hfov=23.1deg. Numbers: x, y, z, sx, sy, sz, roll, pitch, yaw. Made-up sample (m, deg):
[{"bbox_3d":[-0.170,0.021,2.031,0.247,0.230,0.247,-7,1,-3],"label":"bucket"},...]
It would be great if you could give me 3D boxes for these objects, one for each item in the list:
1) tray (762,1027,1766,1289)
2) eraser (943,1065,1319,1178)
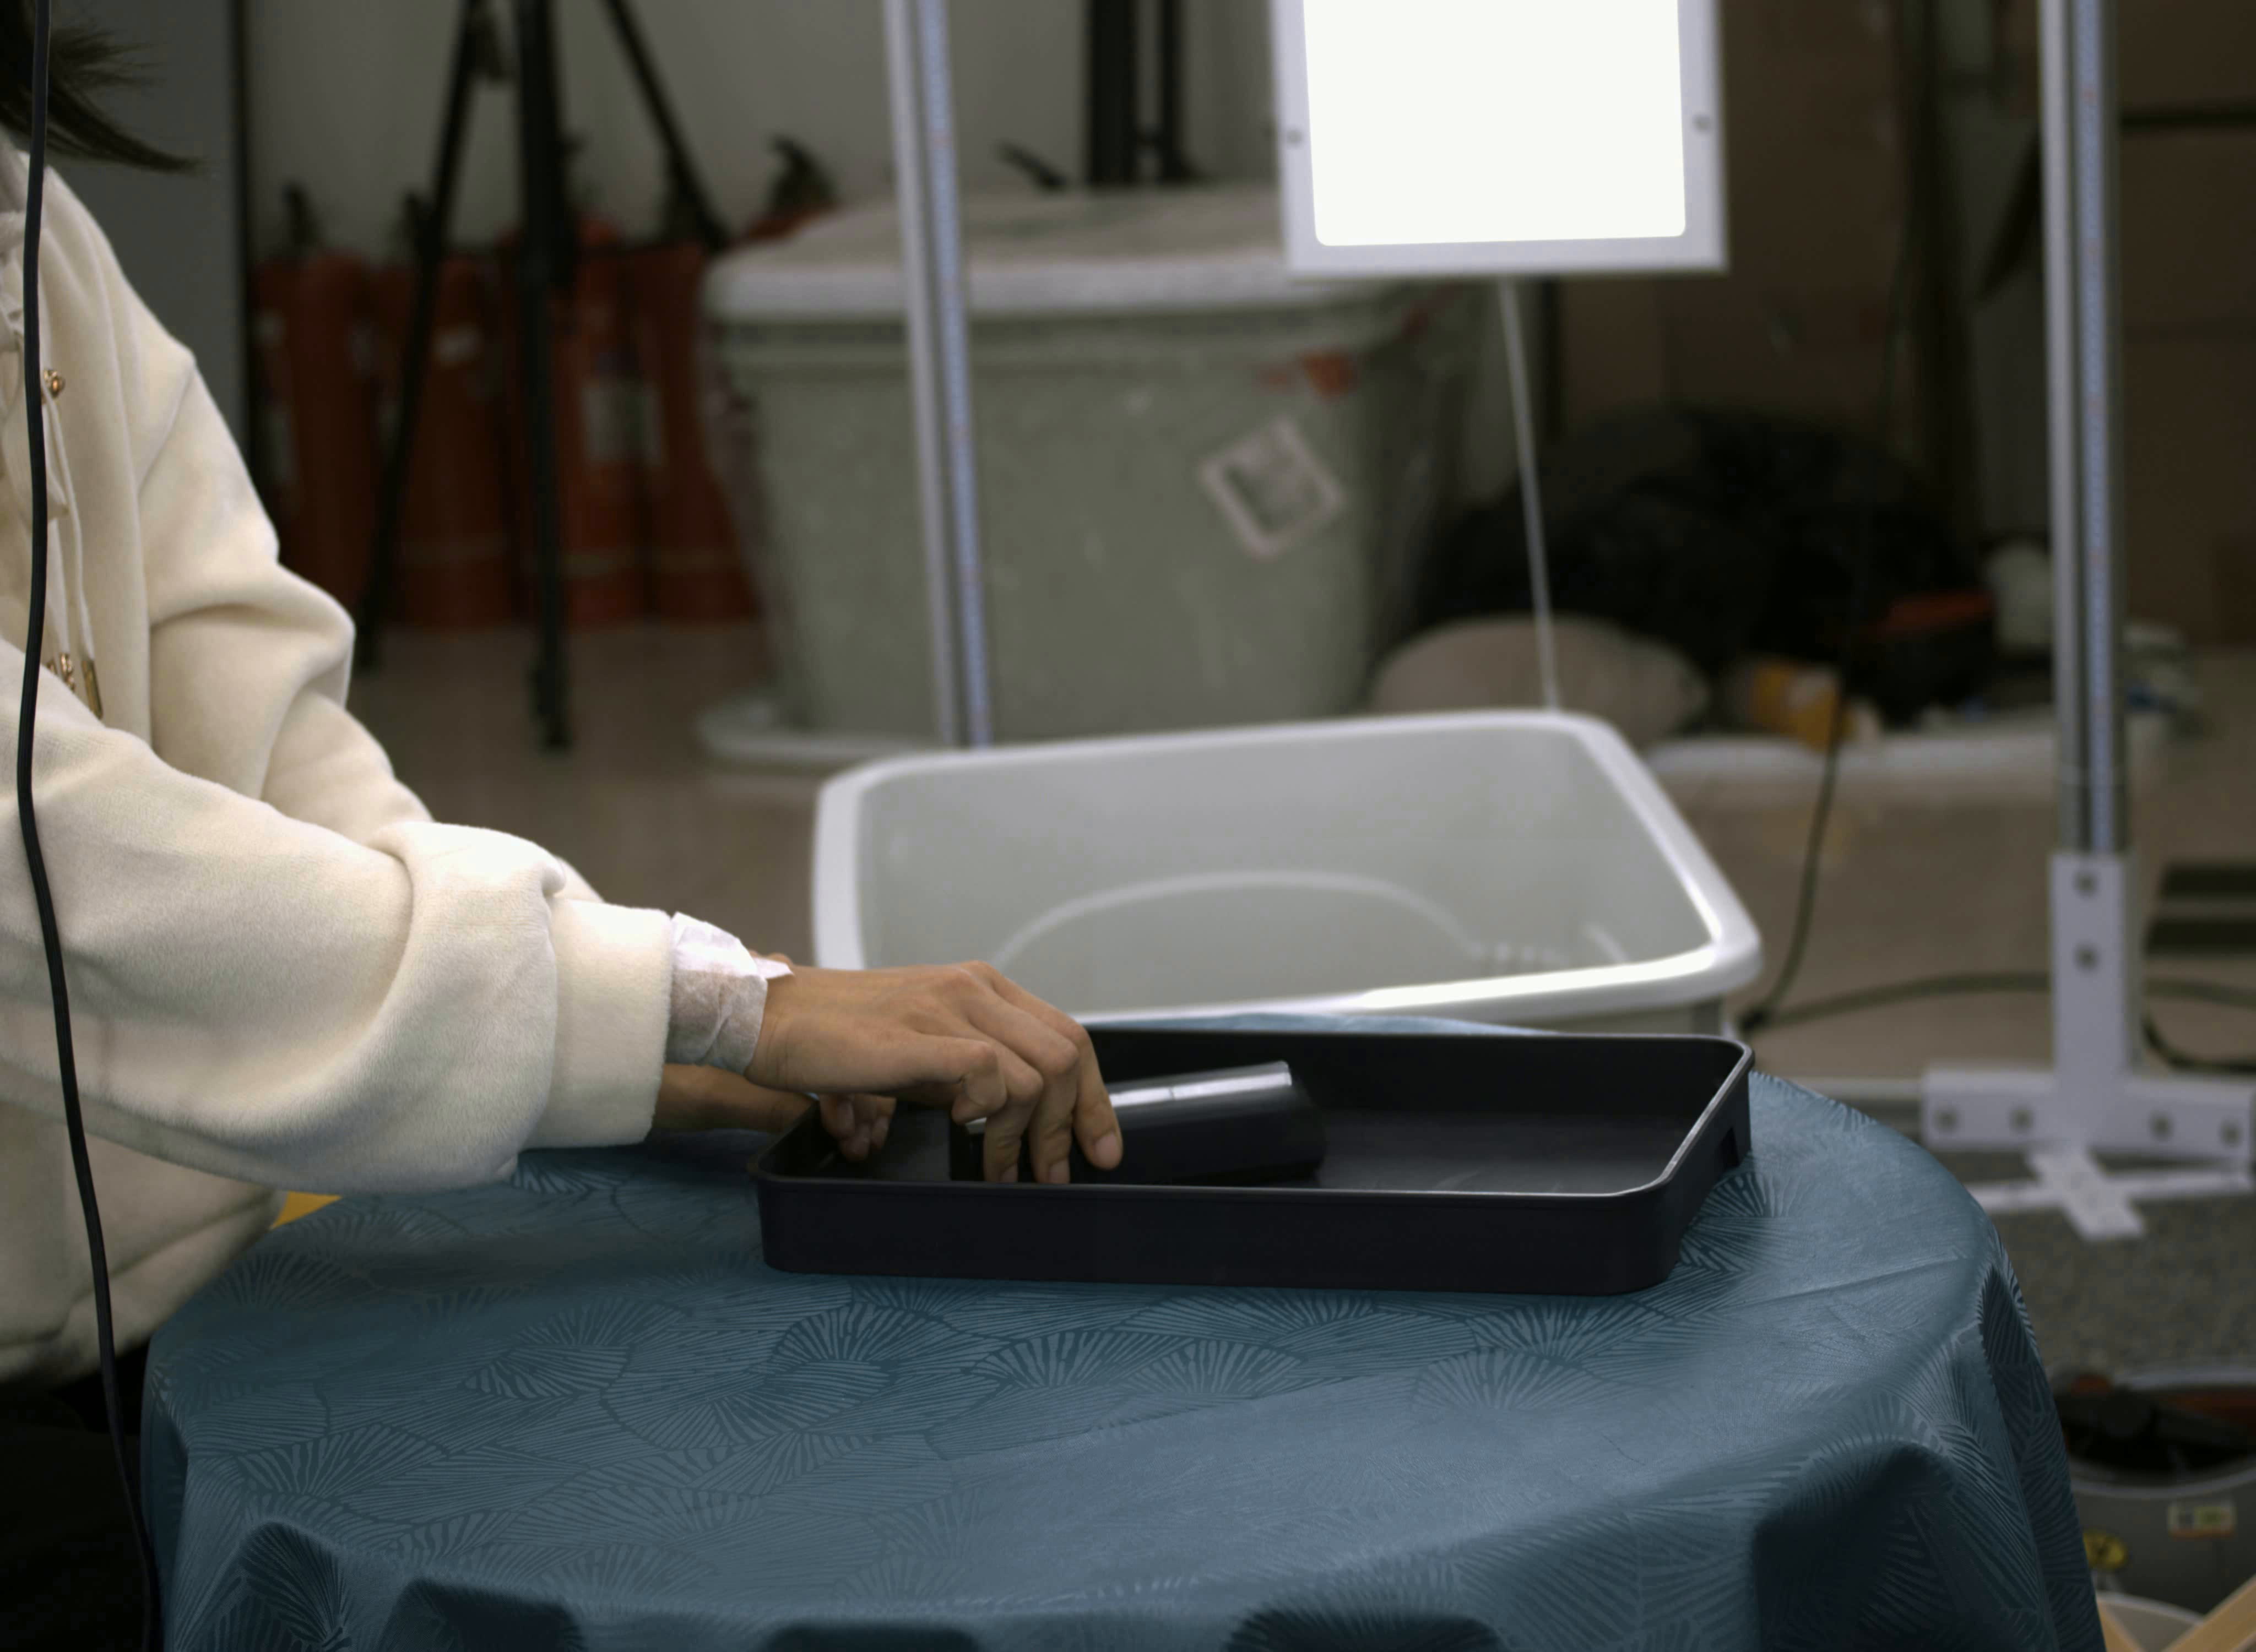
[{"bbox_3d":[0.050,0.110,1.868,0.322,0.037,0.181,-1,14,19],"label":"tray"},{"bbox_3d":[0.002,0.107,1.901,0.124,0.030,0.054,-8,8,-10],"label":"eraser"}]
